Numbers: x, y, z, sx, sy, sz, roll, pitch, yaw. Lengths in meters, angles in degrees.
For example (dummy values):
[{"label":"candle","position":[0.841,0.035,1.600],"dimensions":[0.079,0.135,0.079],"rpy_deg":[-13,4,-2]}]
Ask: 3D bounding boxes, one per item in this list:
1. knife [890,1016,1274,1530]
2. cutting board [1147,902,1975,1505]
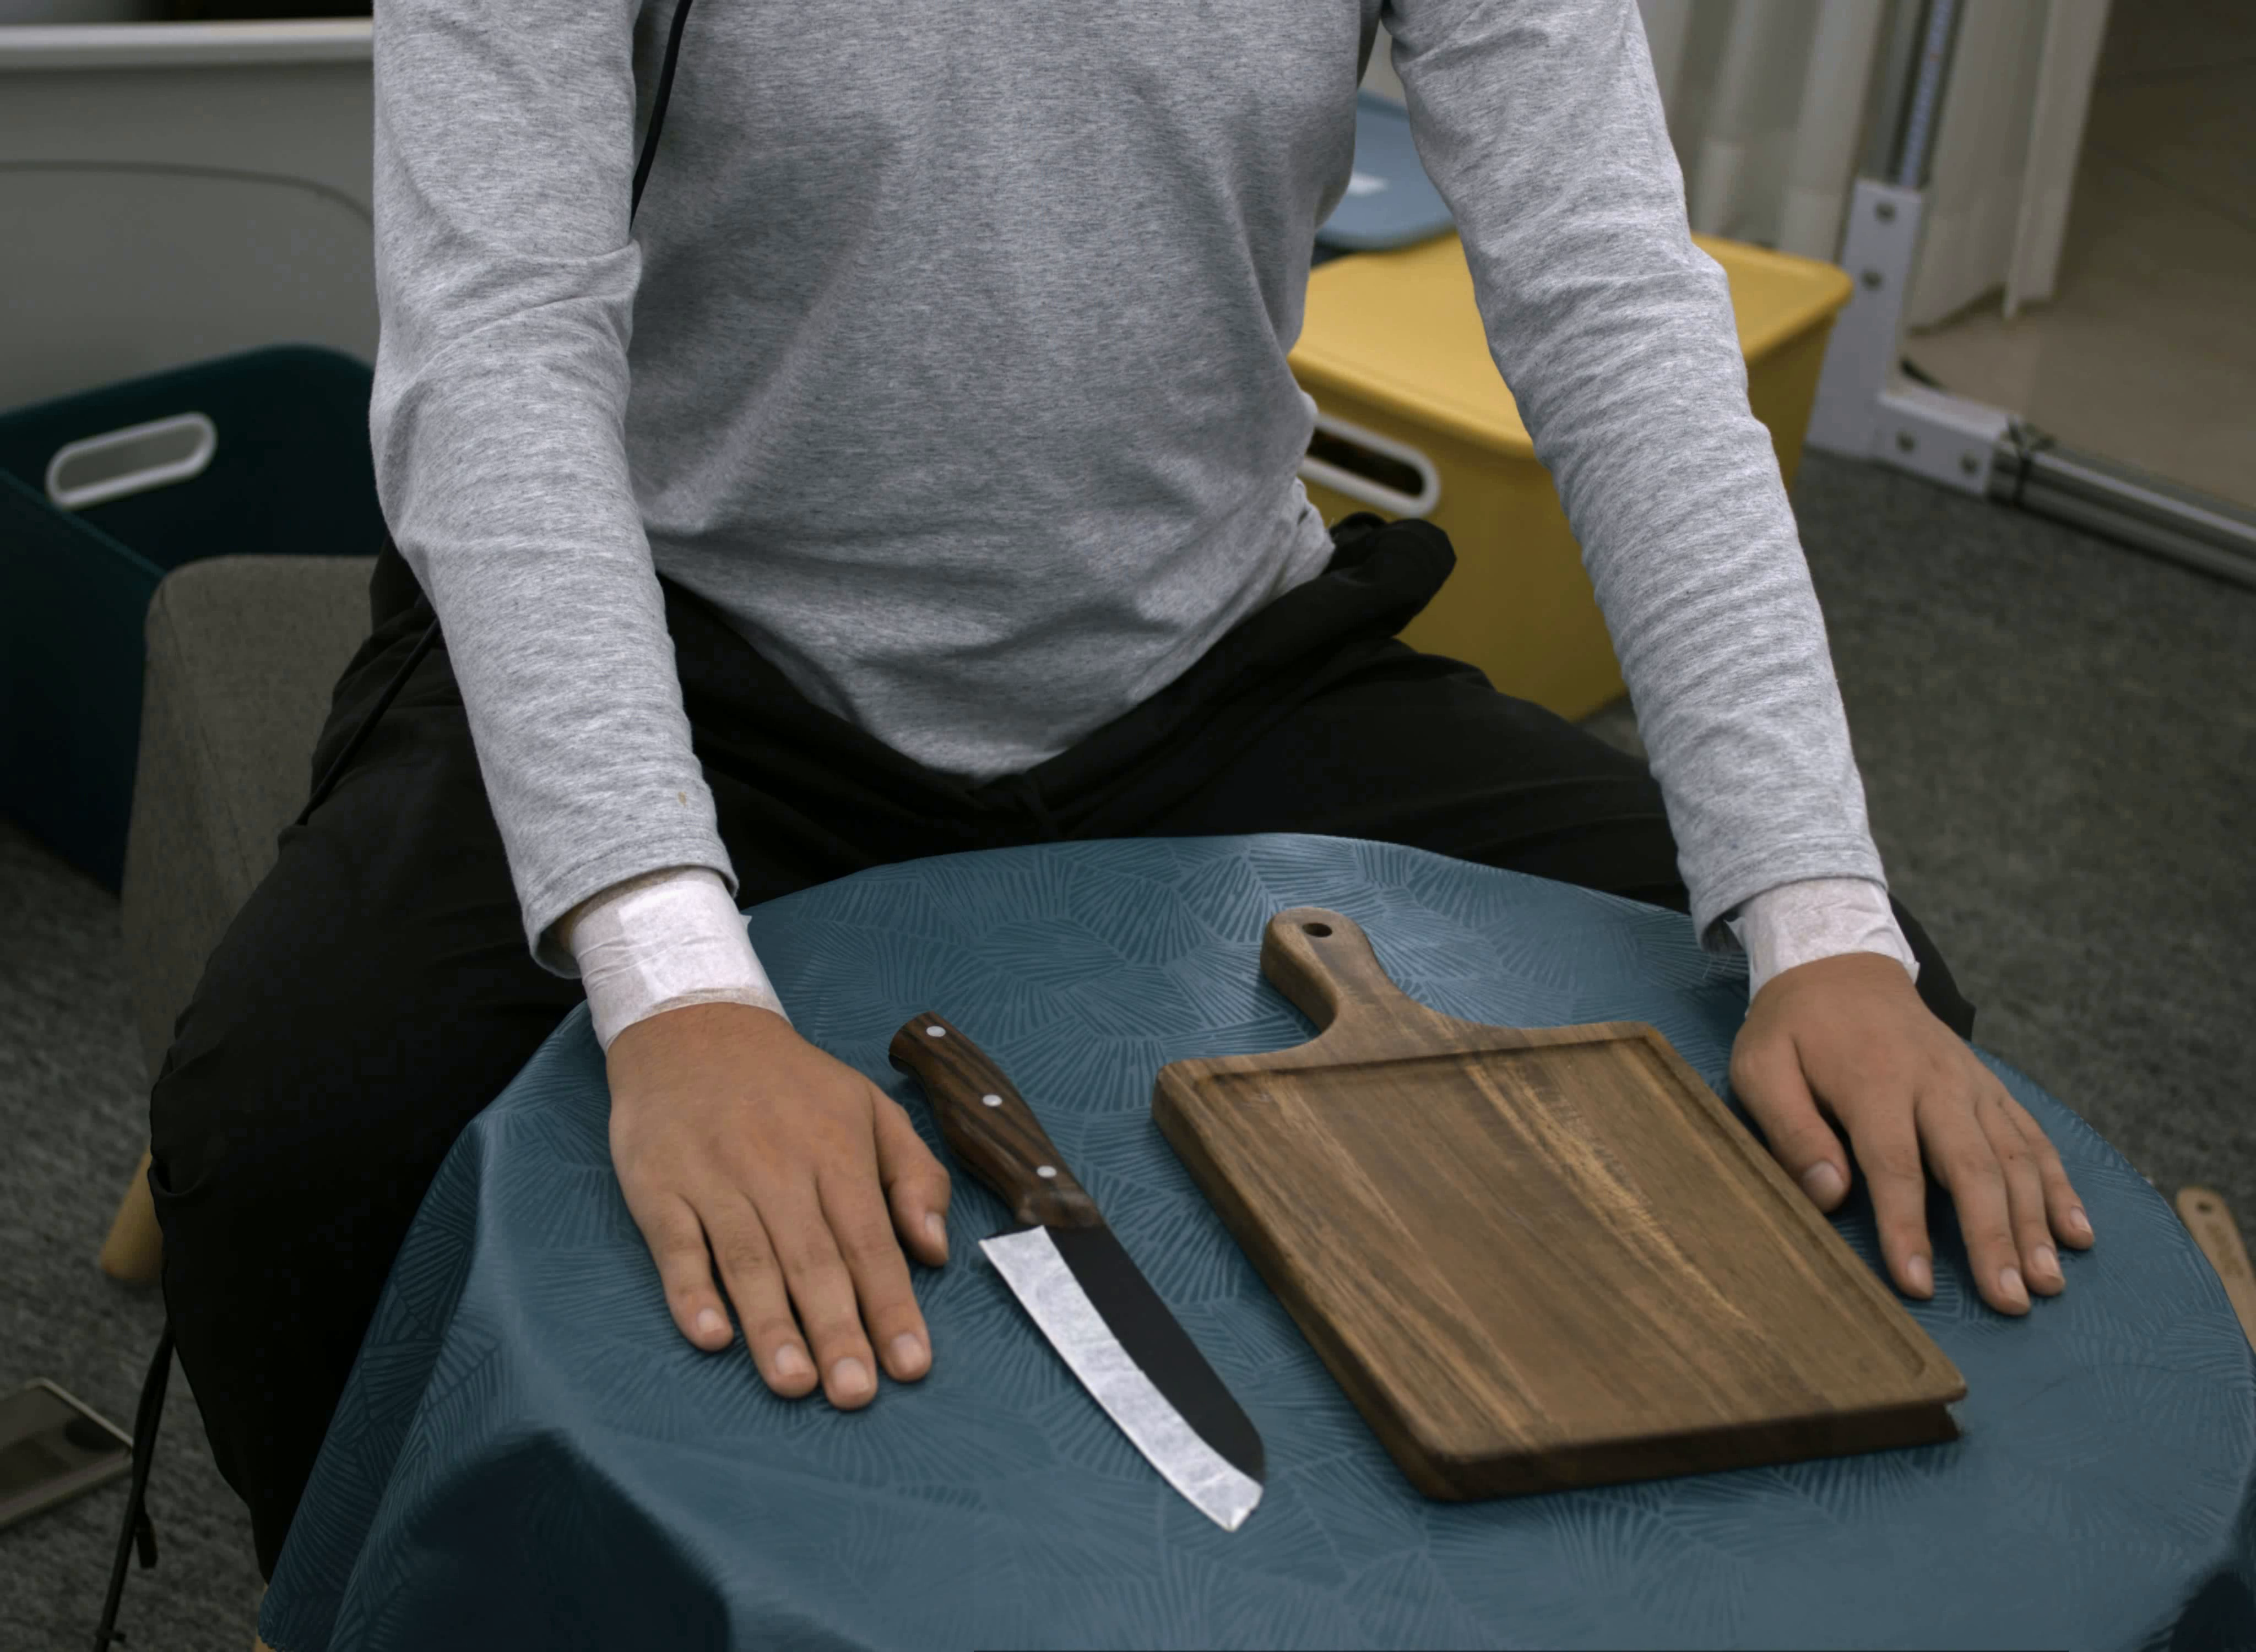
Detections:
[{"label":"knife","position":[-0.019,0.144,1.745],"dimensions":[0.050,0.020,0.292],"rpy_deg":[-10,33,-20]},{"label":"cutting board","position":[0.123,0.117,1.824],"dimensions":[0.200,0.023,0.355],"rpy_deg":[-4,29,-21]}]
